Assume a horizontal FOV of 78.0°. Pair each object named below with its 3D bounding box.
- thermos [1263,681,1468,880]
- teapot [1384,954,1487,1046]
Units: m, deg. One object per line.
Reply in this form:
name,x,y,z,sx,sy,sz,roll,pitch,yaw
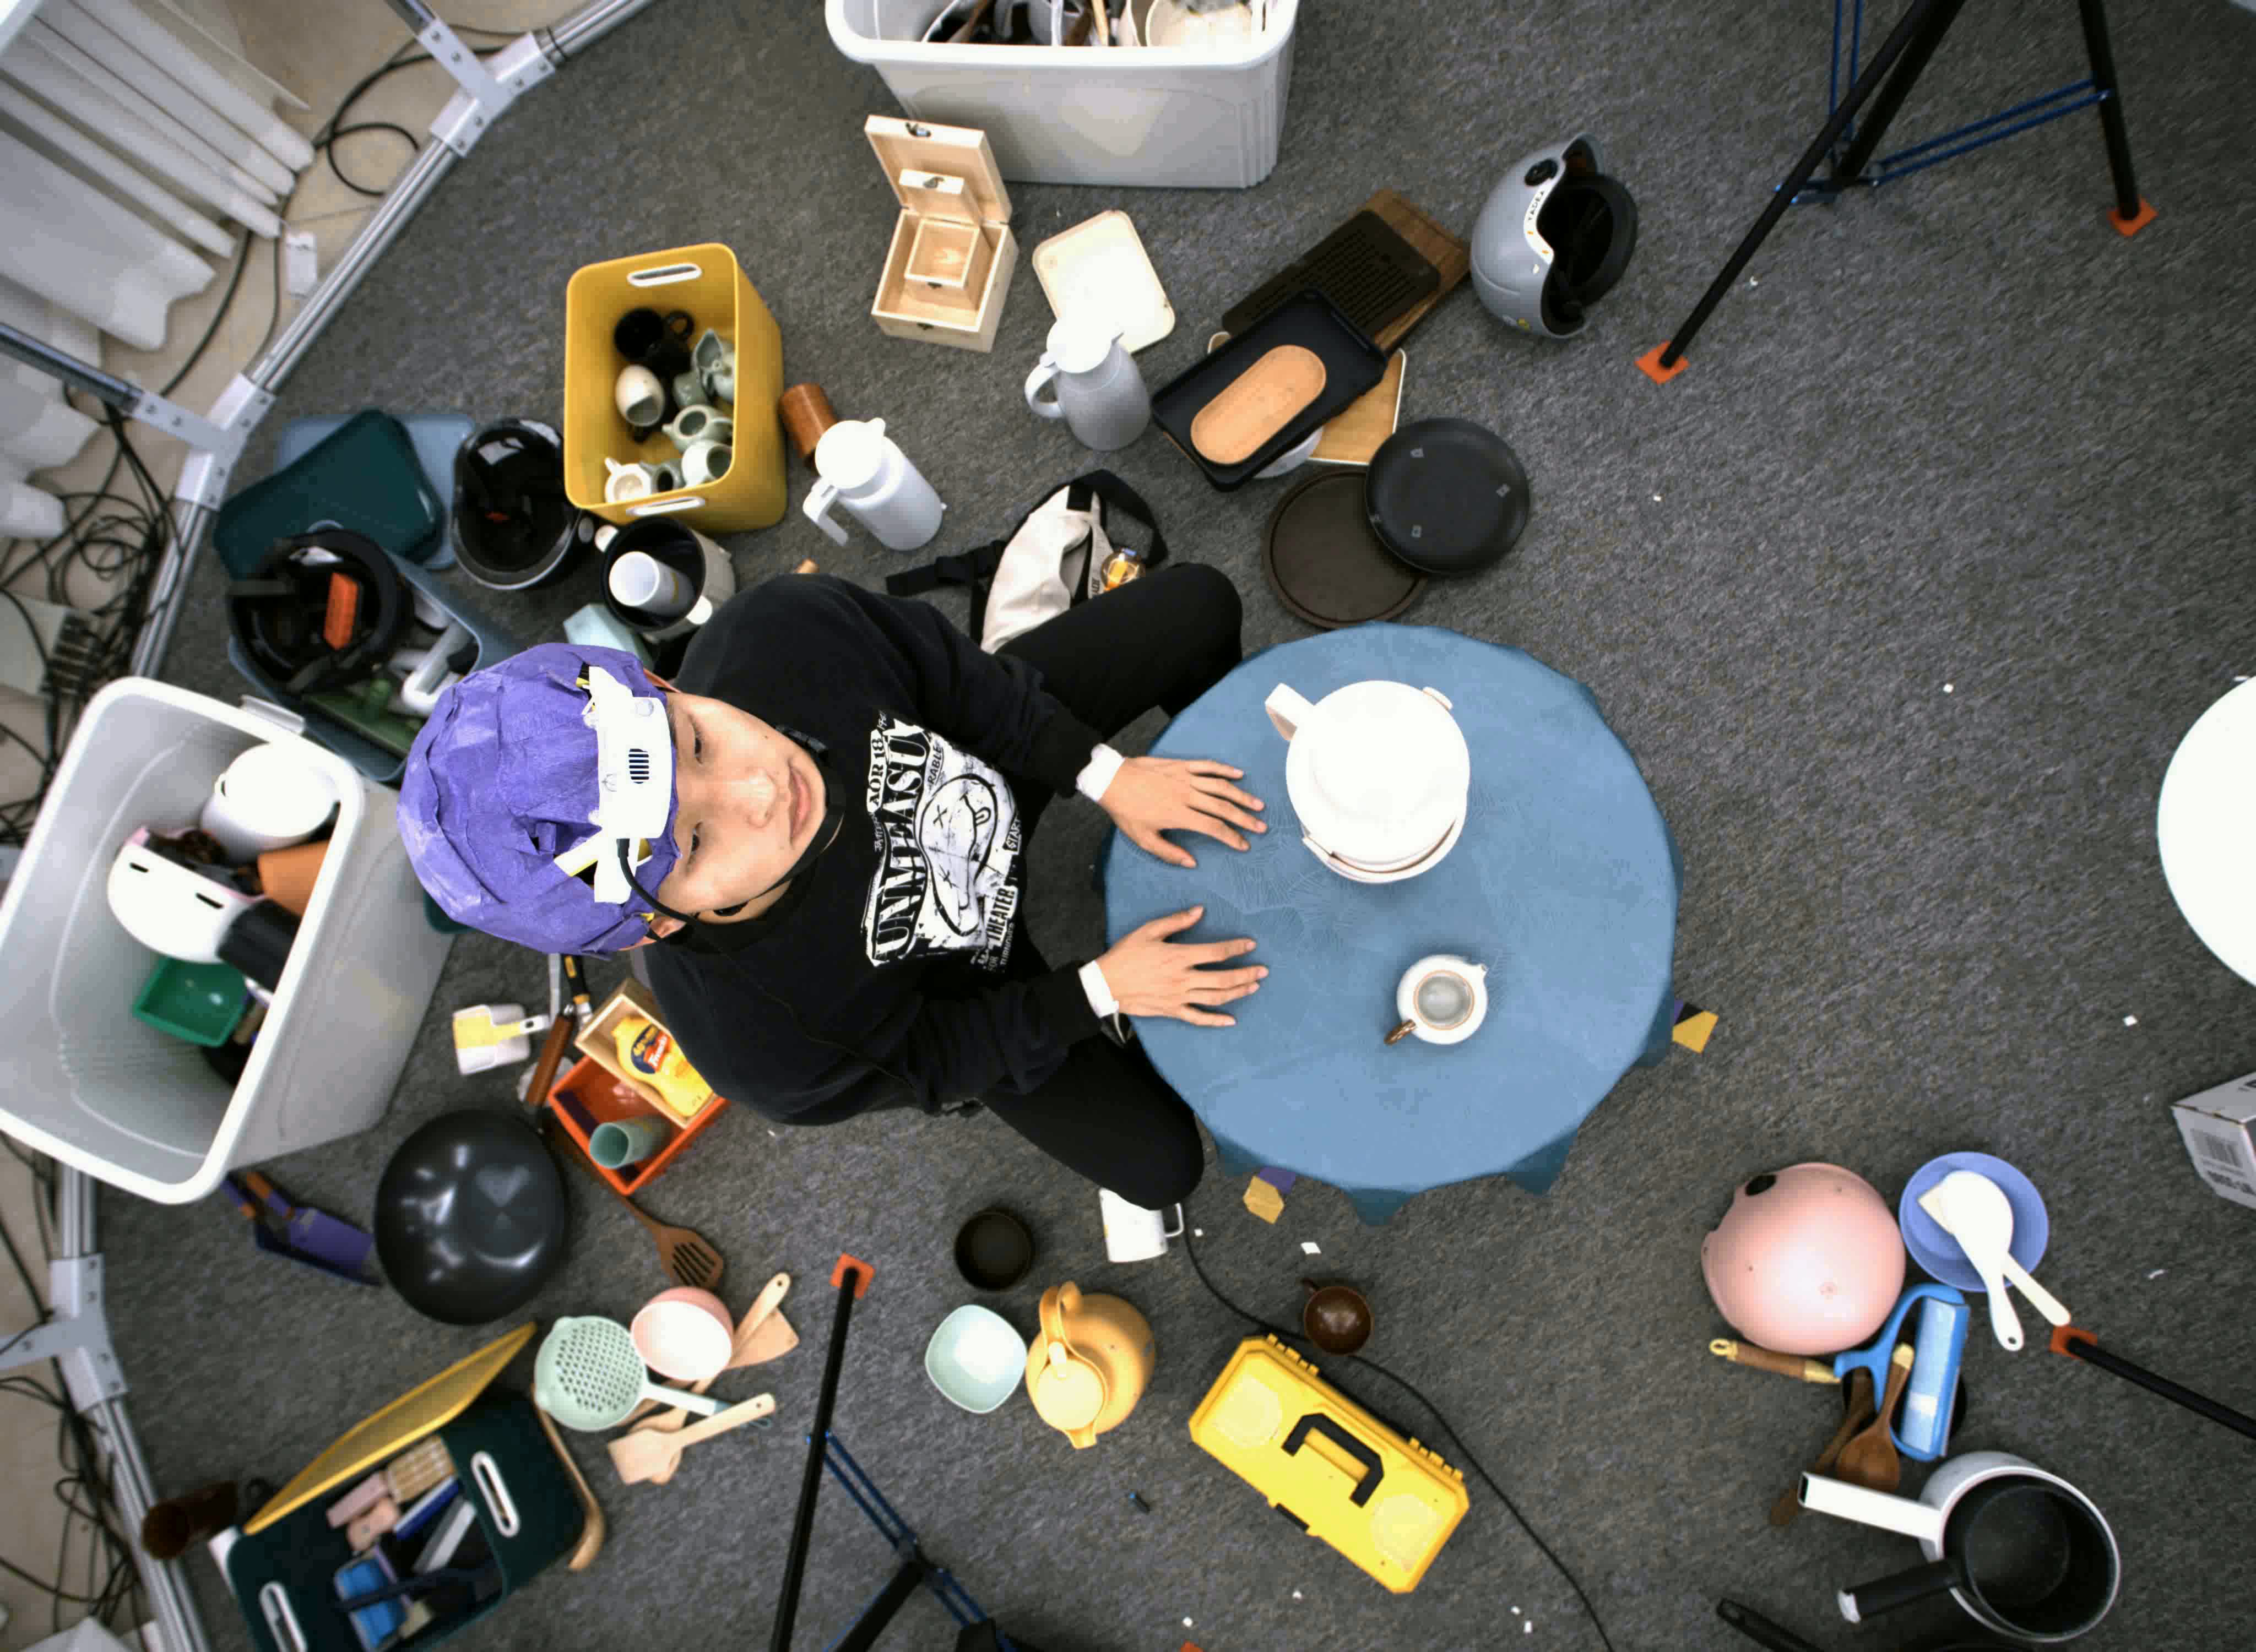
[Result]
thermos,0.218,-0.049,1.276,0.206,0.406,0.176,38,94,11
teapot,0.314,0.182,1.418,0.128,0.059,0.091,-41,84,4
